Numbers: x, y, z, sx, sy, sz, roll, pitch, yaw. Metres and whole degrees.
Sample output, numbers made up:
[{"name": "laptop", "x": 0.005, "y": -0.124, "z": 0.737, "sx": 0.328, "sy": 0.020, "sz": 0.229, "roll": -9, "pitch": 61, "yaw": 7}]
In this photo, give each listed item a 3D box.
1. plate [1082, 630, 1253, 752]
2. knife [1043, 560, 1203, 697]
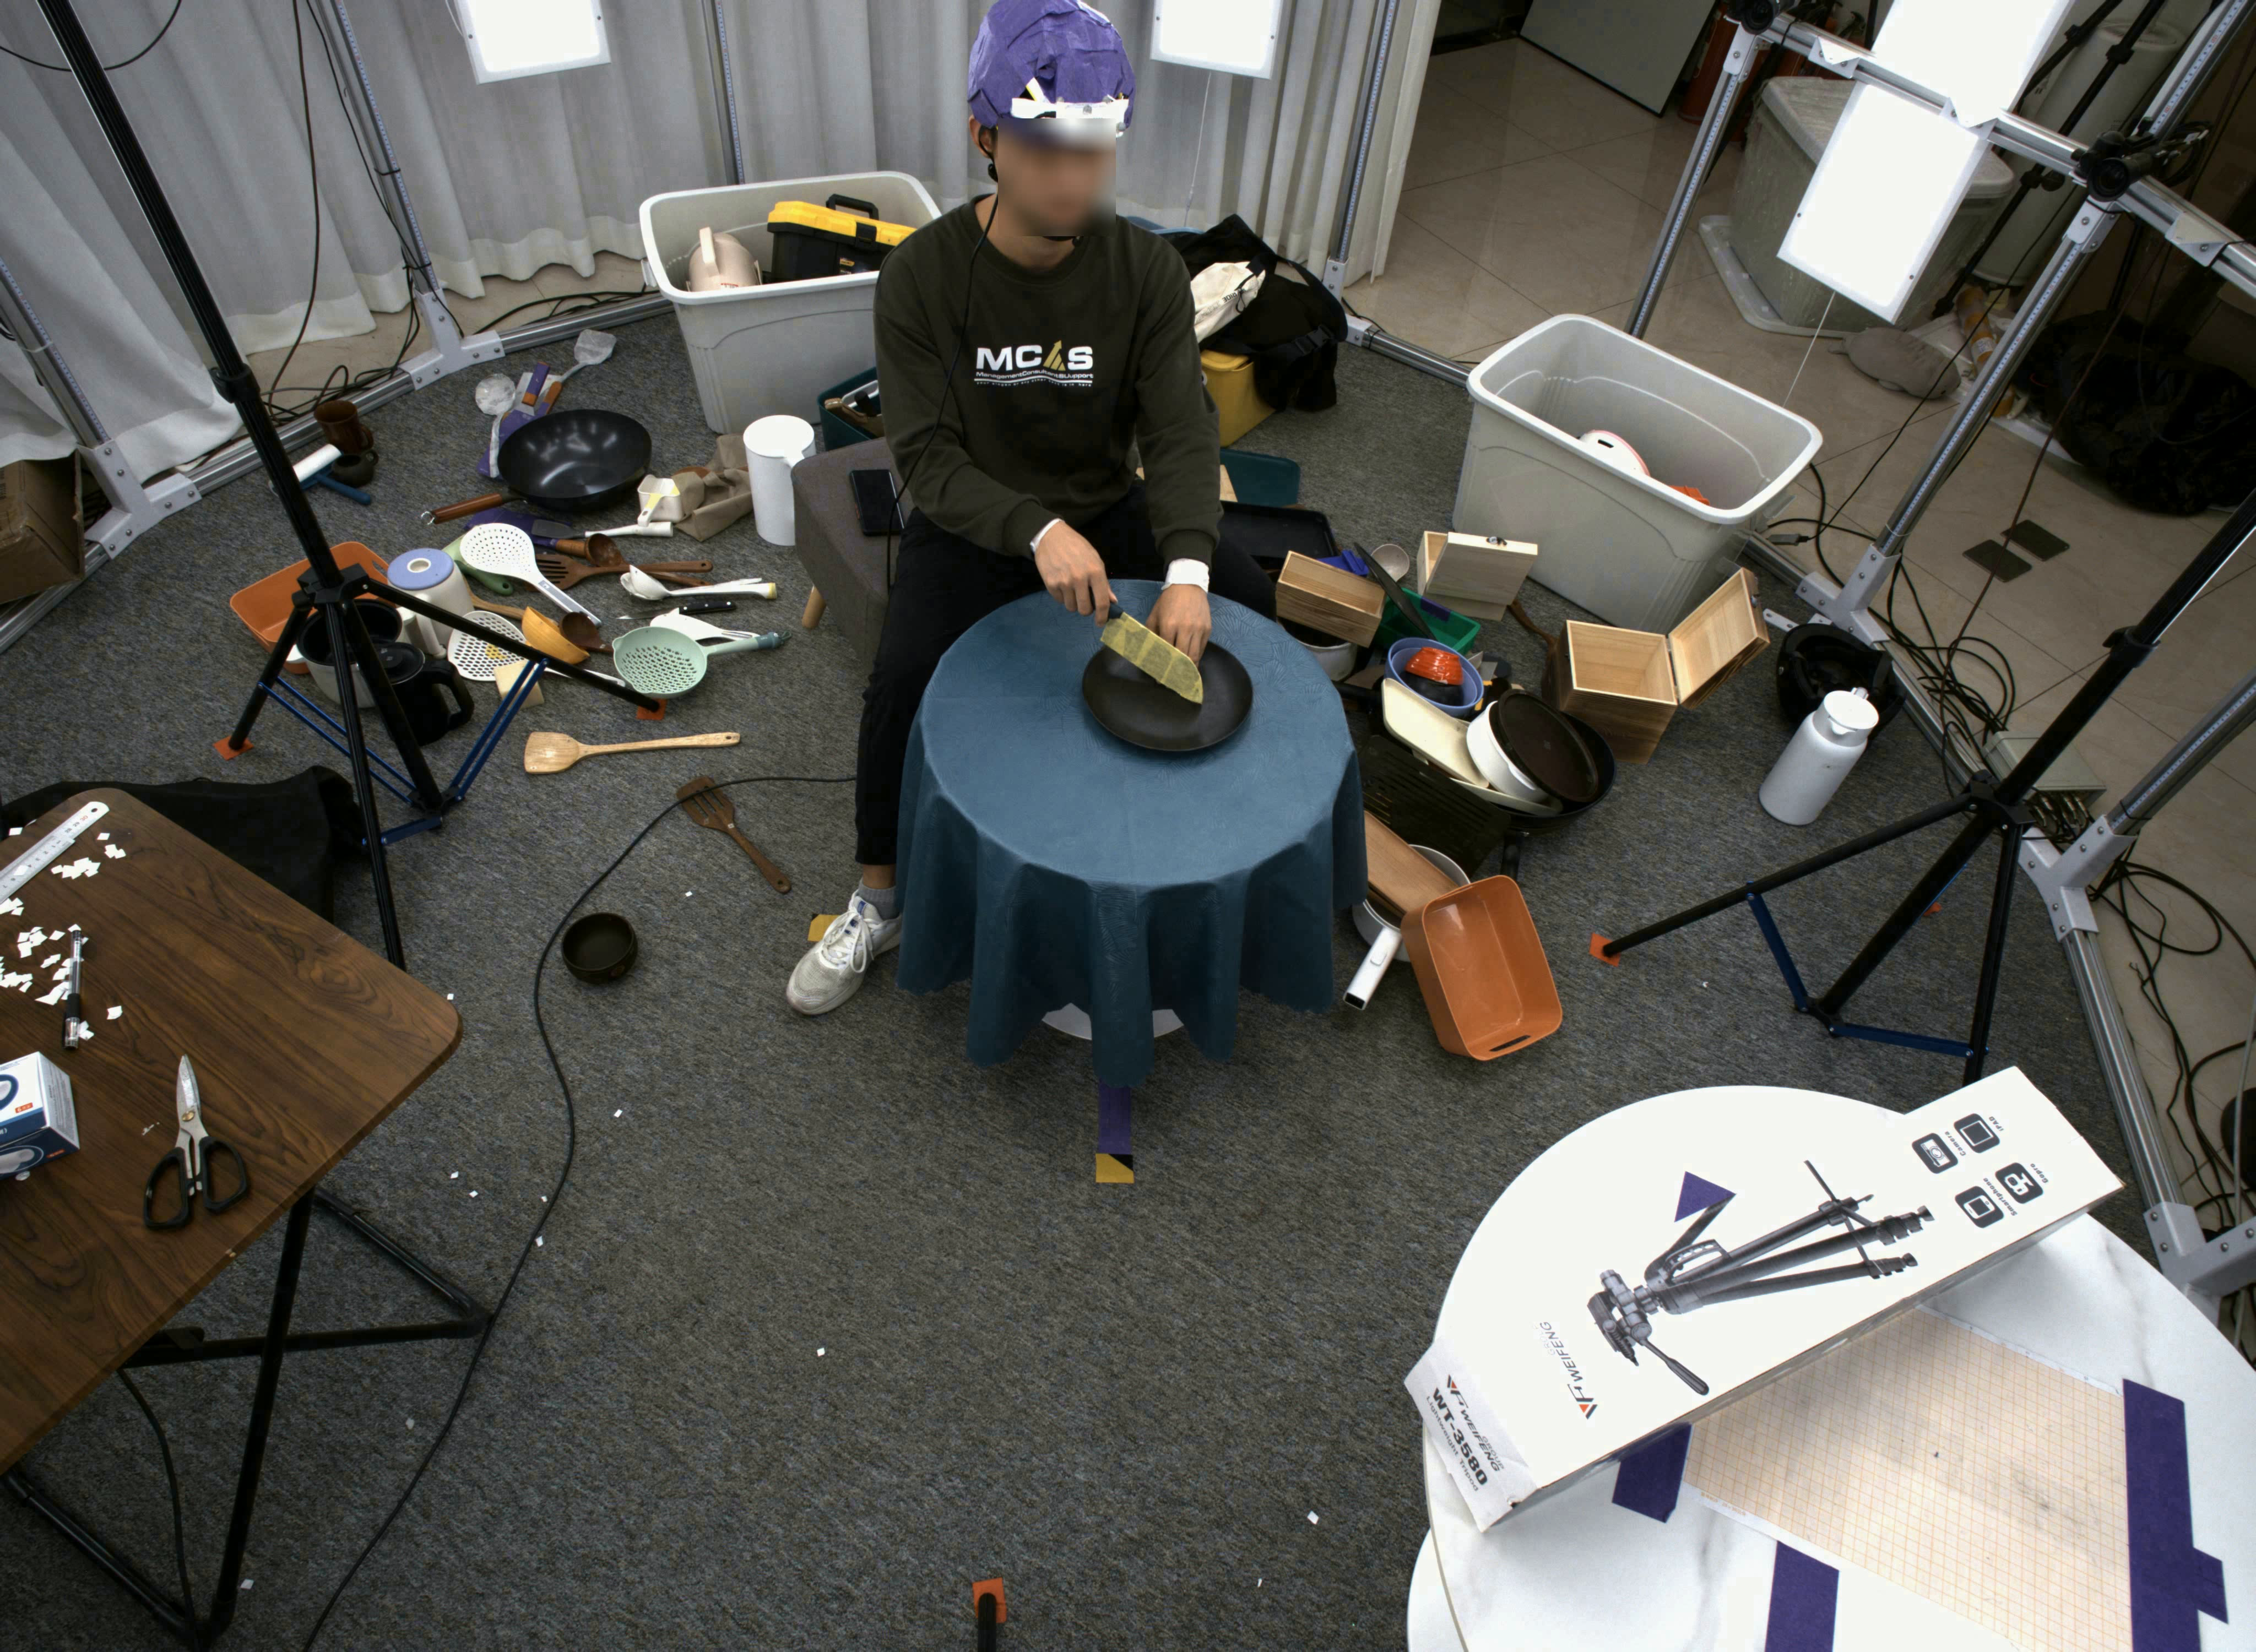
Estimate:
[{"name": "plate", "x": 0.056, "y": -0.189, "z": 1.820, "sx": 0.244, "sy": 0.023, "sz": 0.250, "roll": 2, "pitch": 49, "yaw": -3}, {"name": "knife", "x": -0.007, "y": -0.276, "z": 1.811, "sx": 0.290, "sy": 0.079, "sz": 0.027, "roll": 39, "pitch": 49, "yaw": 6}]
